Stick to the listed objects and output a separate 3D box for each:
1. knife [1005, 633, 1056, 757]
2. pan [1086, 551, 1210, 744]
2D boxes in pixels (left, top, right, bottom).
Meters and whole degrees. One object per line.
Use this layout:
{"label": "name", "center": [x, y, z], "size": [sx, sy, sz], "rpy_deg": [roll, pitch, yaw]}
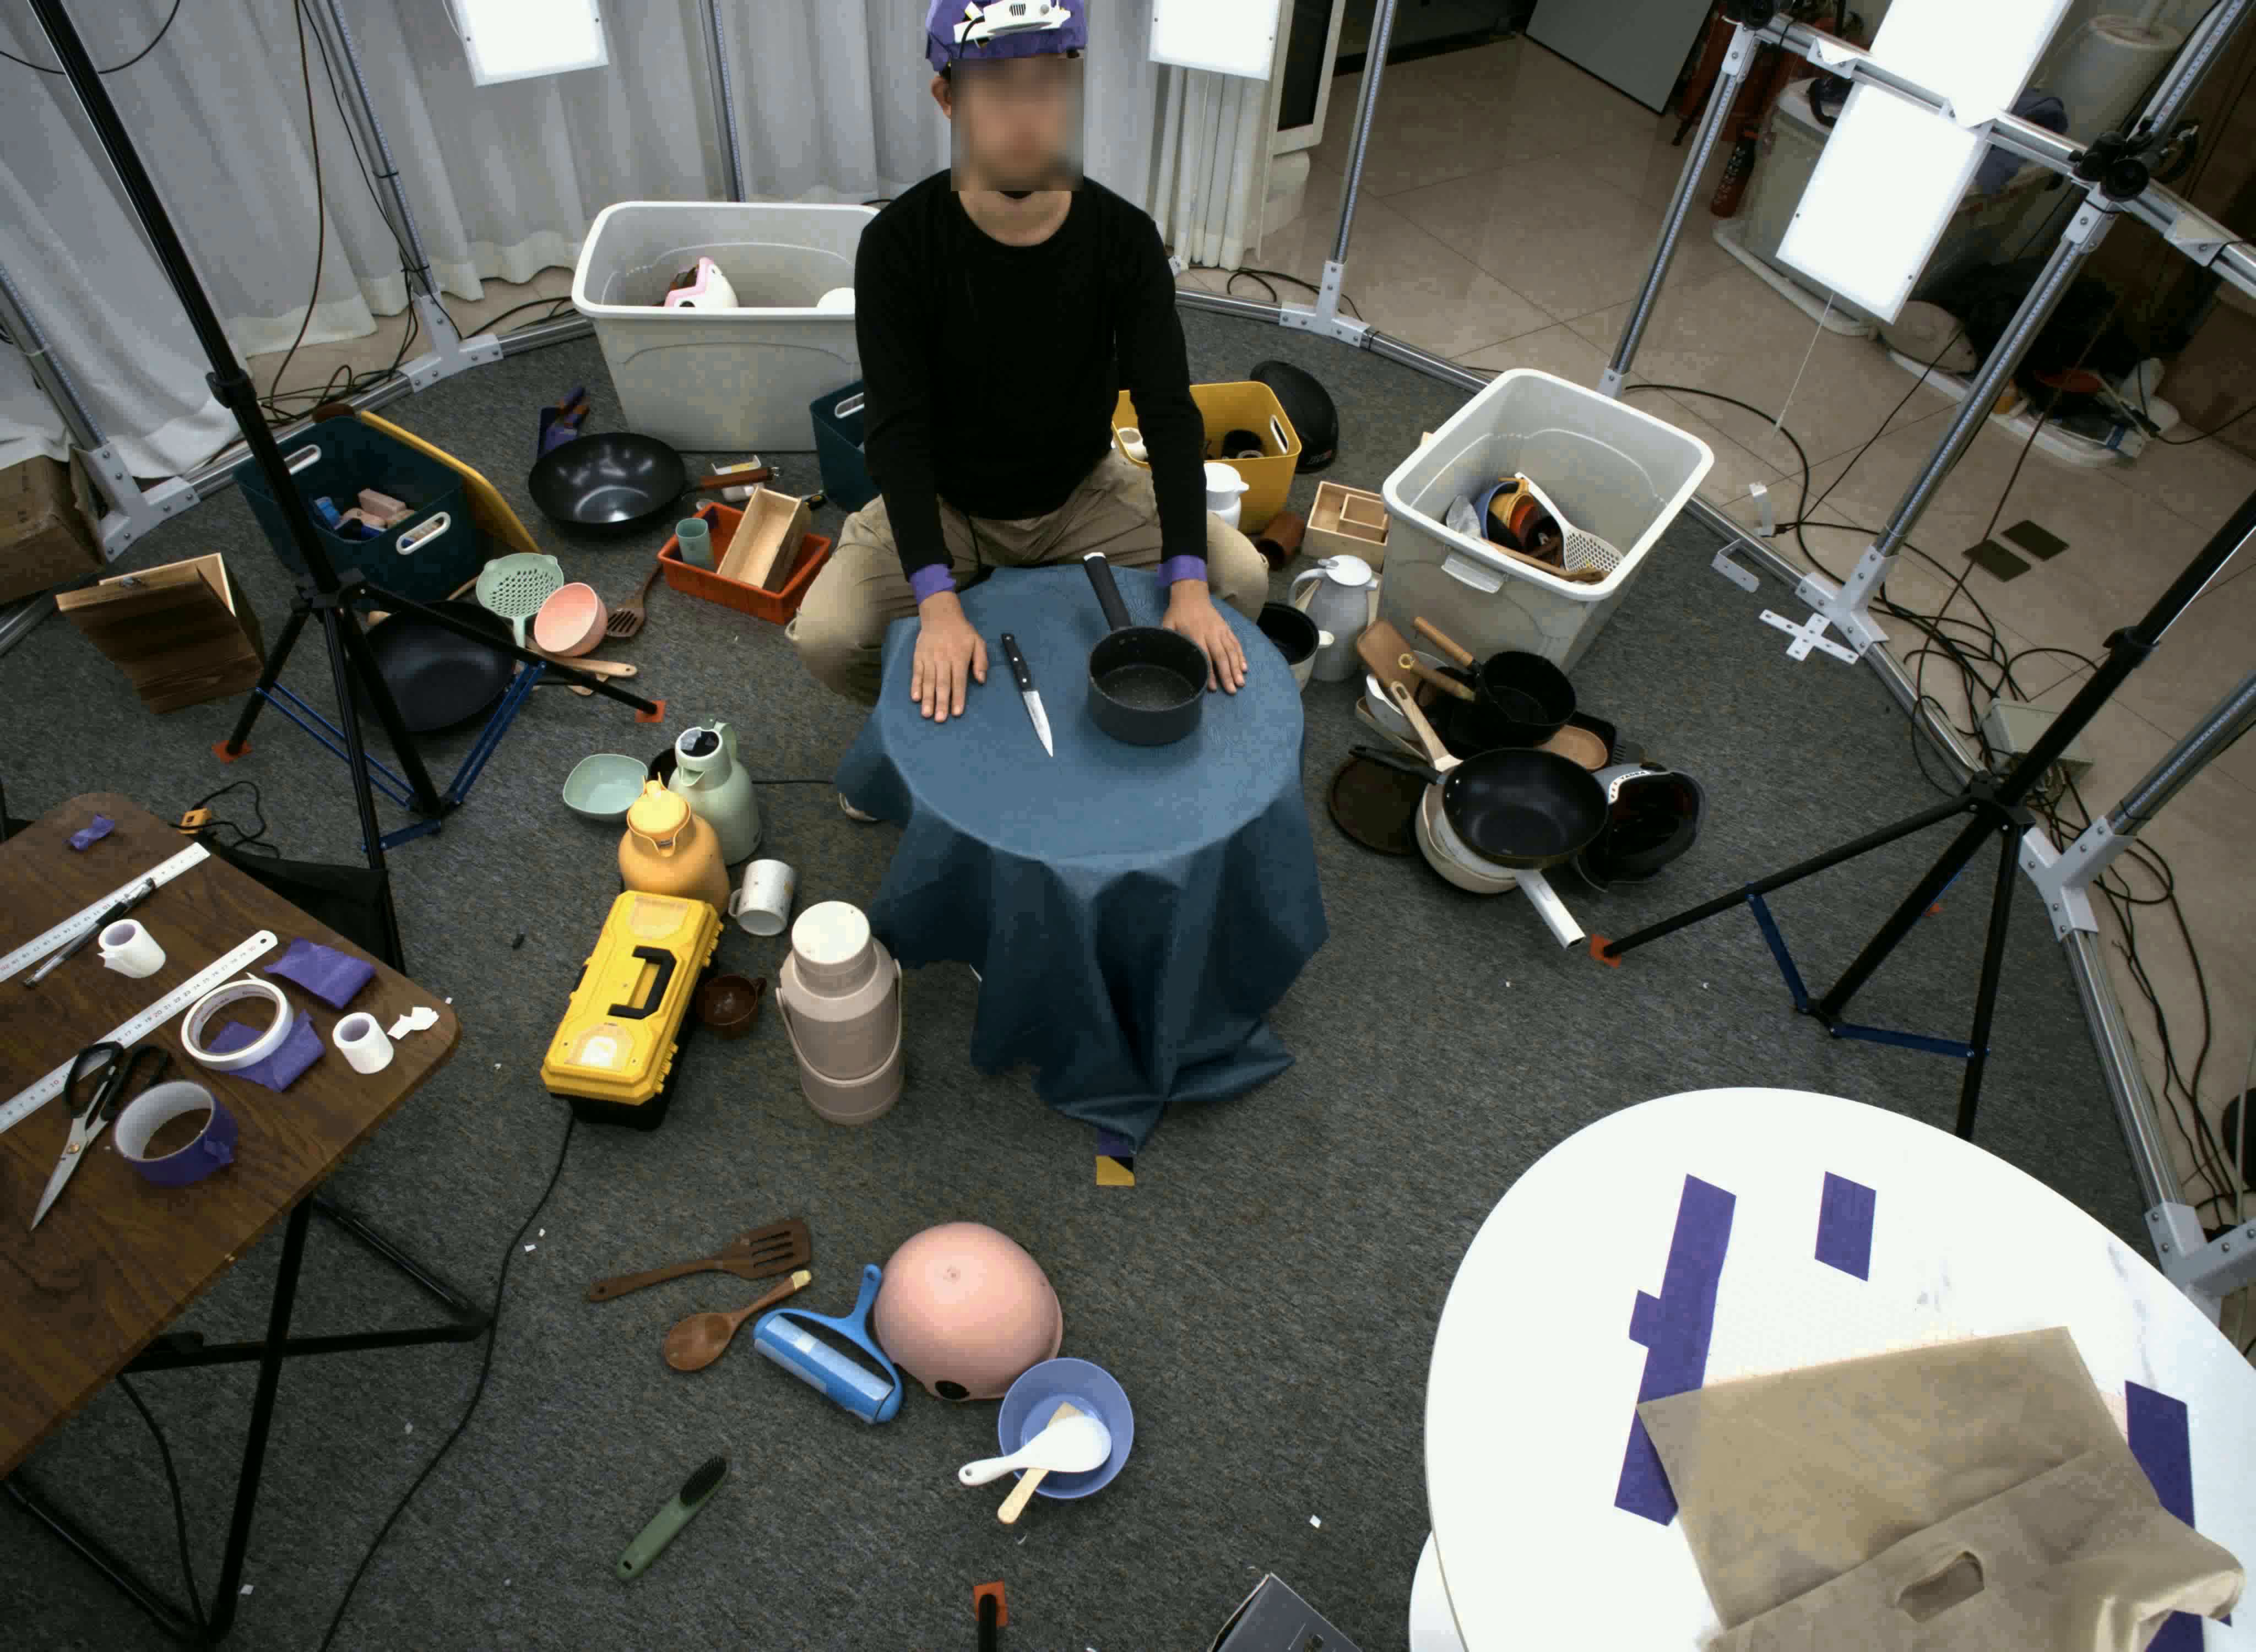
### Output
{"label": "knife", "center": [-0.138, -0.186, 1.815], "size": [0.024, 0.016, 0.244], "rpy_deg": [-11, 53, -14]}
{"label": "pan", "center": [0.004, -0.258, 1.839], "size": [0.172, 0.084, 0.337], "rpy_deg": [-10, 51, -12]}
